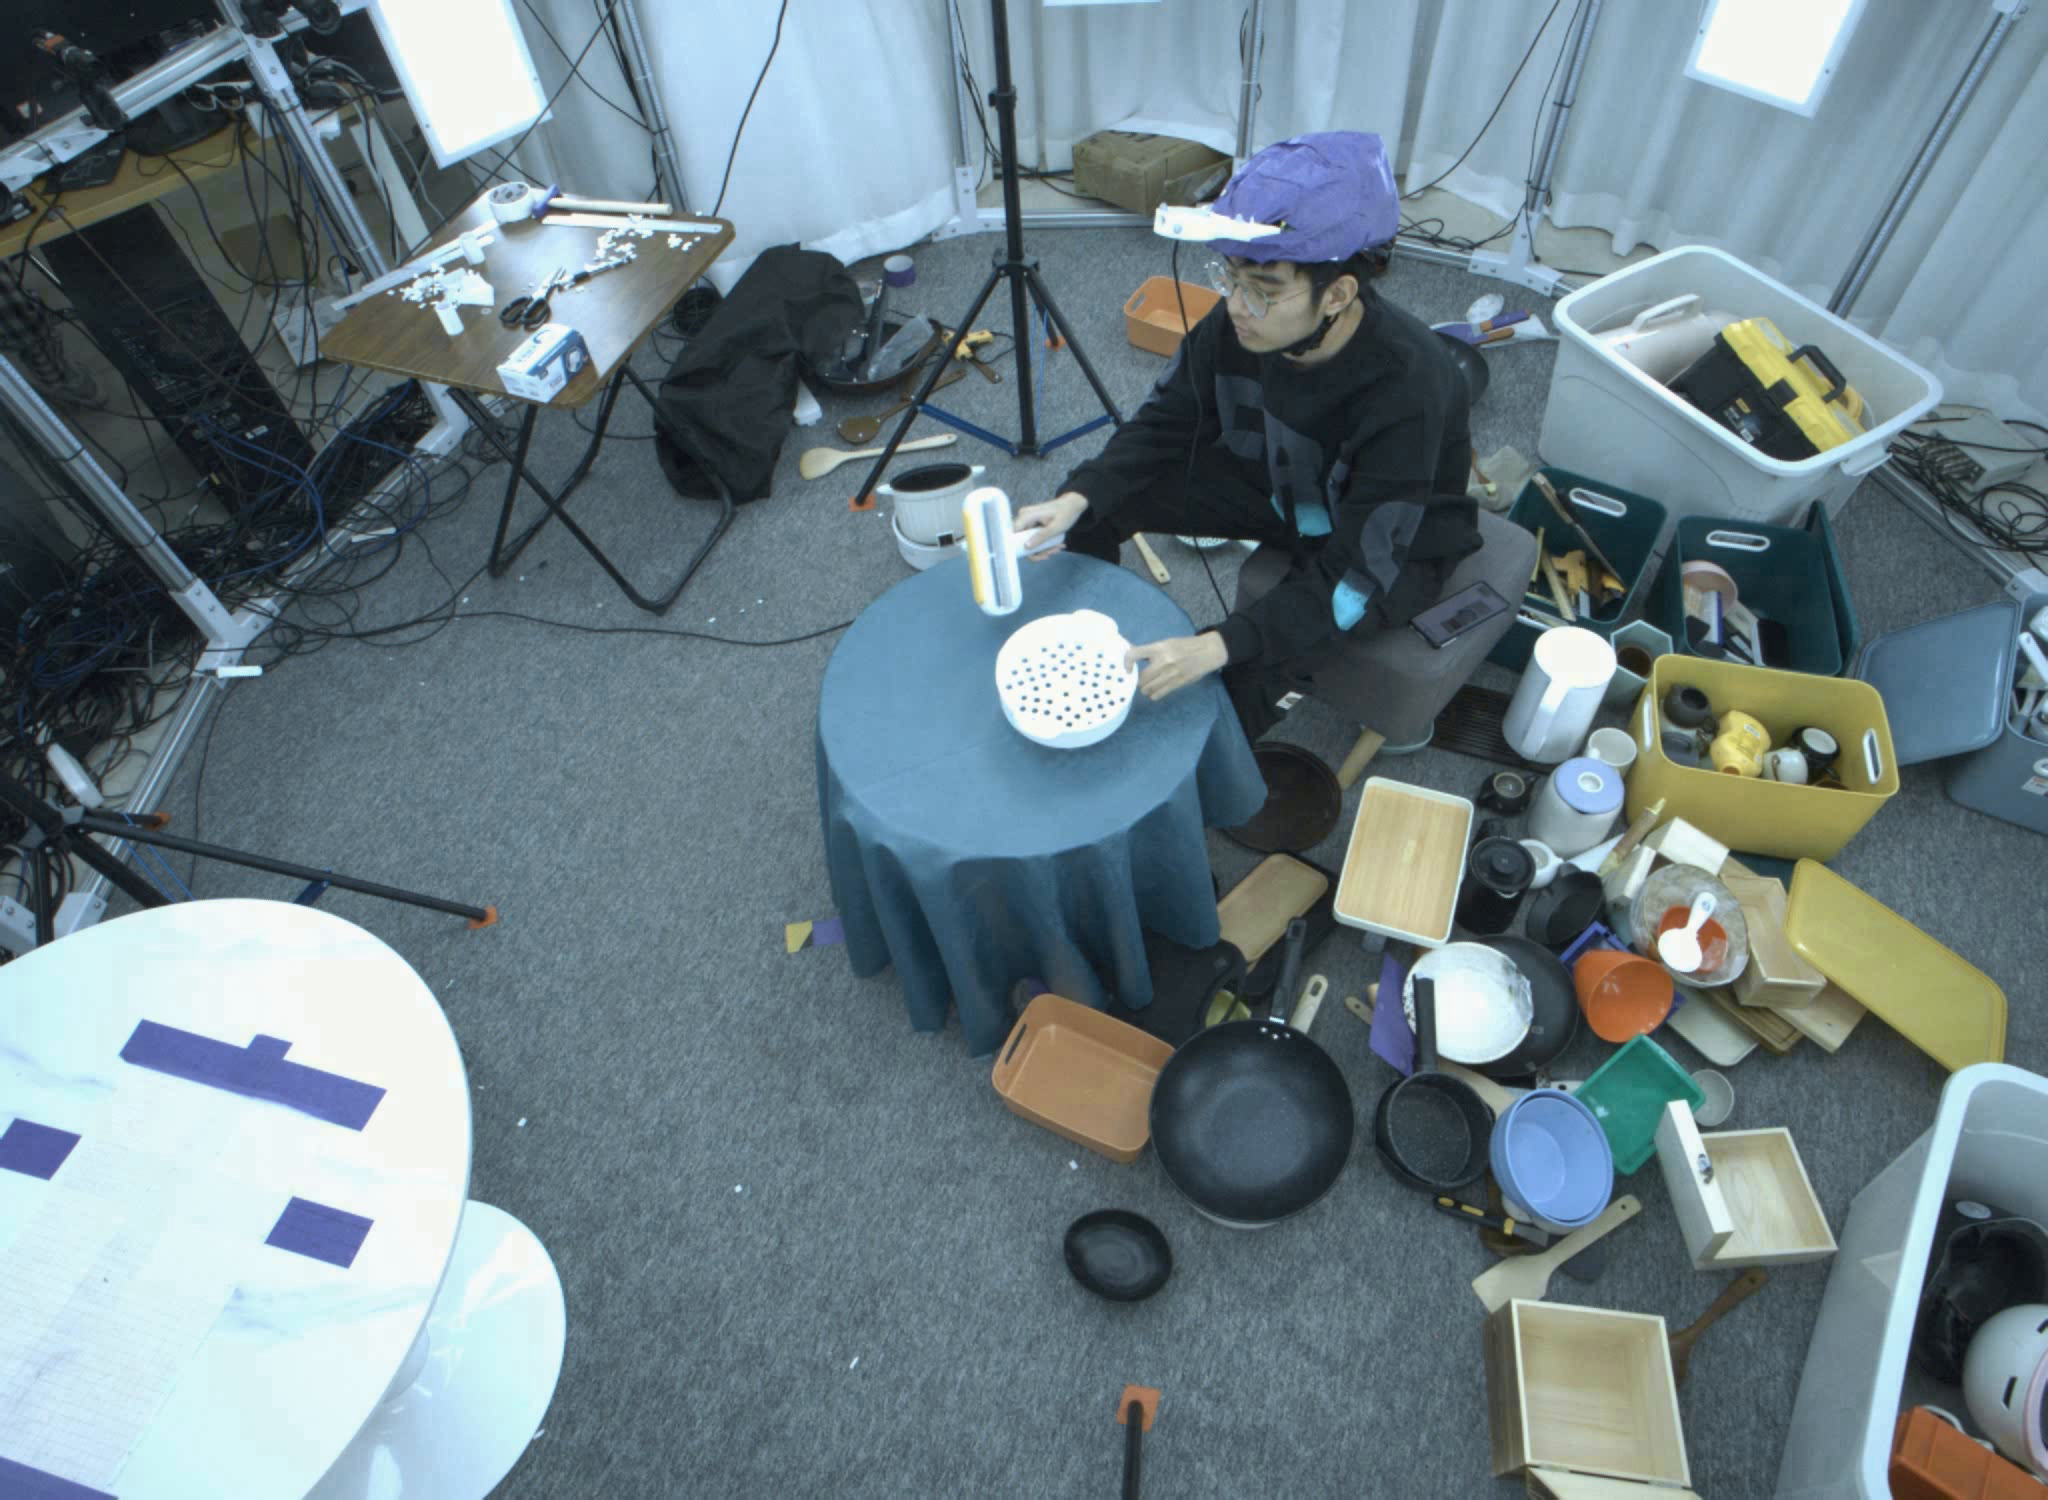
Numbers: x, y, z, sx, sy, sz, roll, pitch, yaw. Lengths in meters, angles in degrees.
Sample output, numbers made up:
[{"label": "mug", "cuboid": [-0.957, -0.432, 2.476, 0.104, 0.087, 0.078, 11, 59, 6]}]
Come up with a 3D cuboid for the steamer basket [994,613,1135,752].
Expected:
[{"label": "steamer basket", "cuboid": [0.056, -0.092, 1.770, 0.200, 0.069, 0.231, 24, 61, 9]}]

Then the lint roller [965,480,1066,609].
[{"label": "lint roller", "cuboid": [-0.004, -0.322, 1.878, 0.195, 0.194, 0.072, -16, 20, -33]}]
